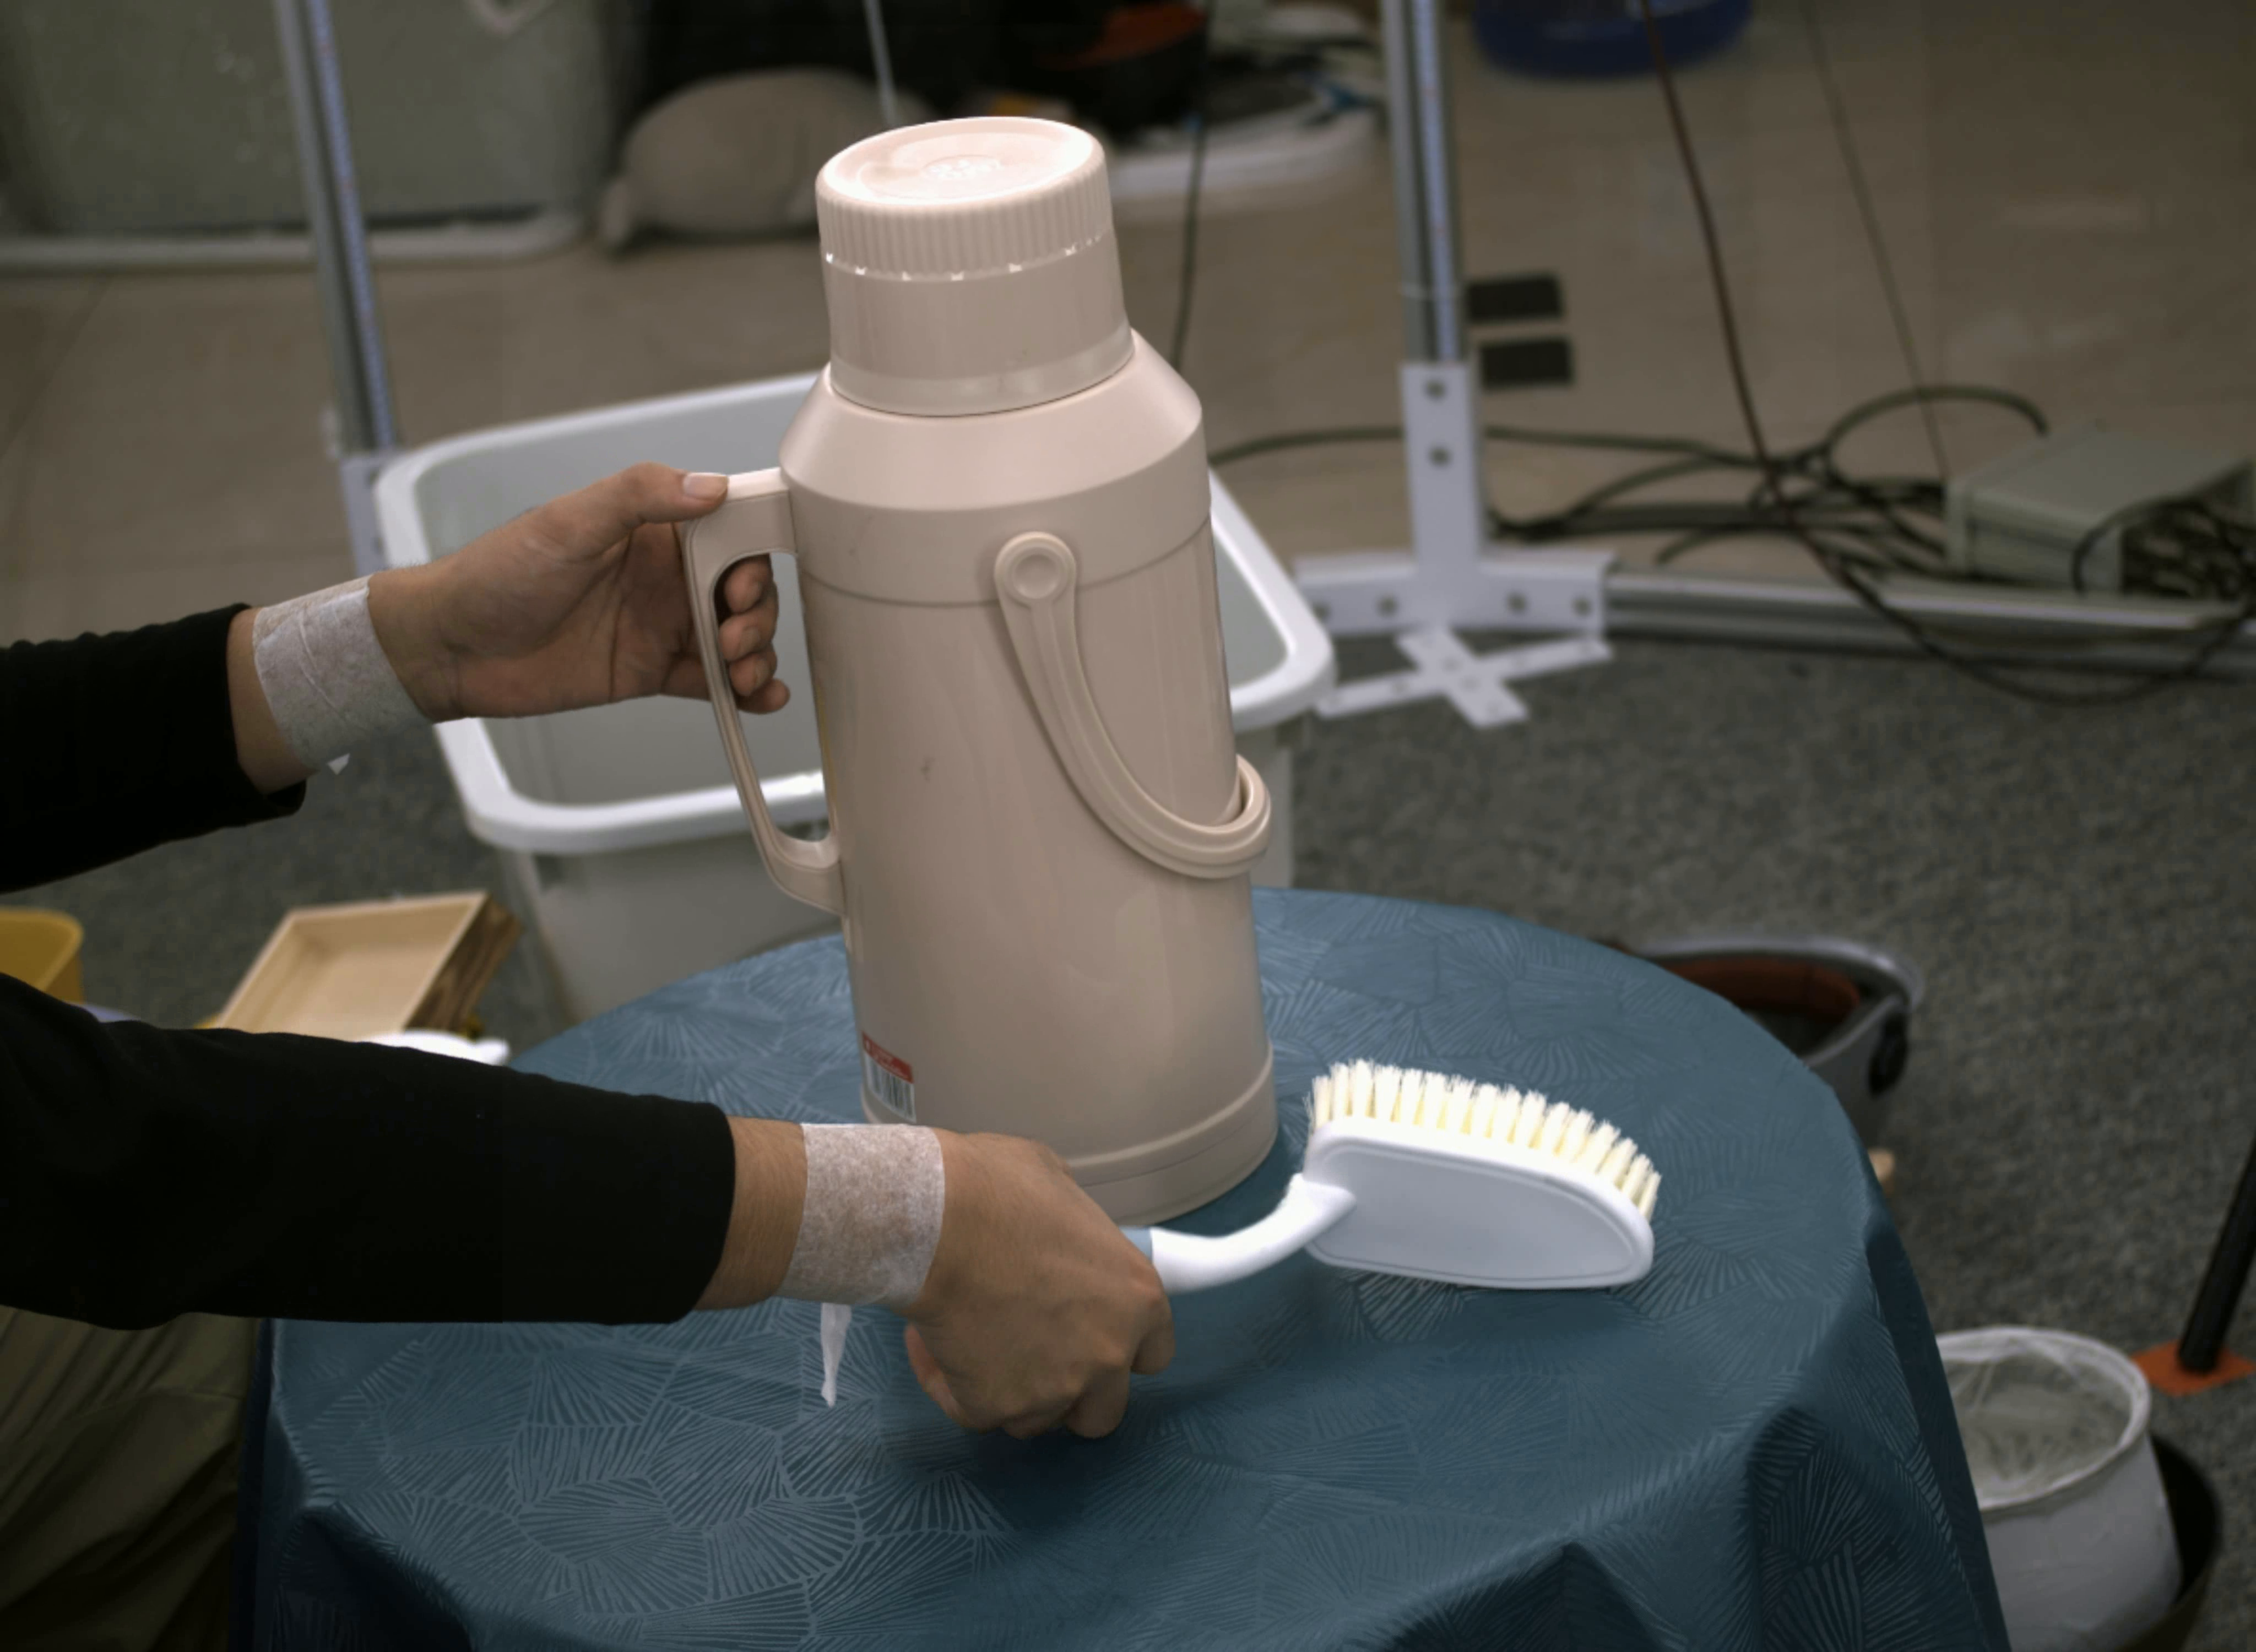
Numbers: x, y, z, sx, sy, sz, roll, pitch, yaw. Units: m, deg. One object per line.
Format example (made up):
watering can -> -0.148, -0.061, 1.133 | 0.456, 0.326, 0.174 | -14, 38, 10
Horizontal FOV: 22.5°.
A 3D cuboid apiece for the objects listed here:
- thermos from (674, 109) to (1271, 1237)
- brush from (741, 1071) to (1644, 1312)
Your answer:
thermos -> -0.056, -0.056, 2.102 | 0.206, 0.413, 0.173 | -10, 28, -8
brush -> 0.023, 0.128, 2.025 | 0.325, 0.083, 0.084 | 1, 7, -7
